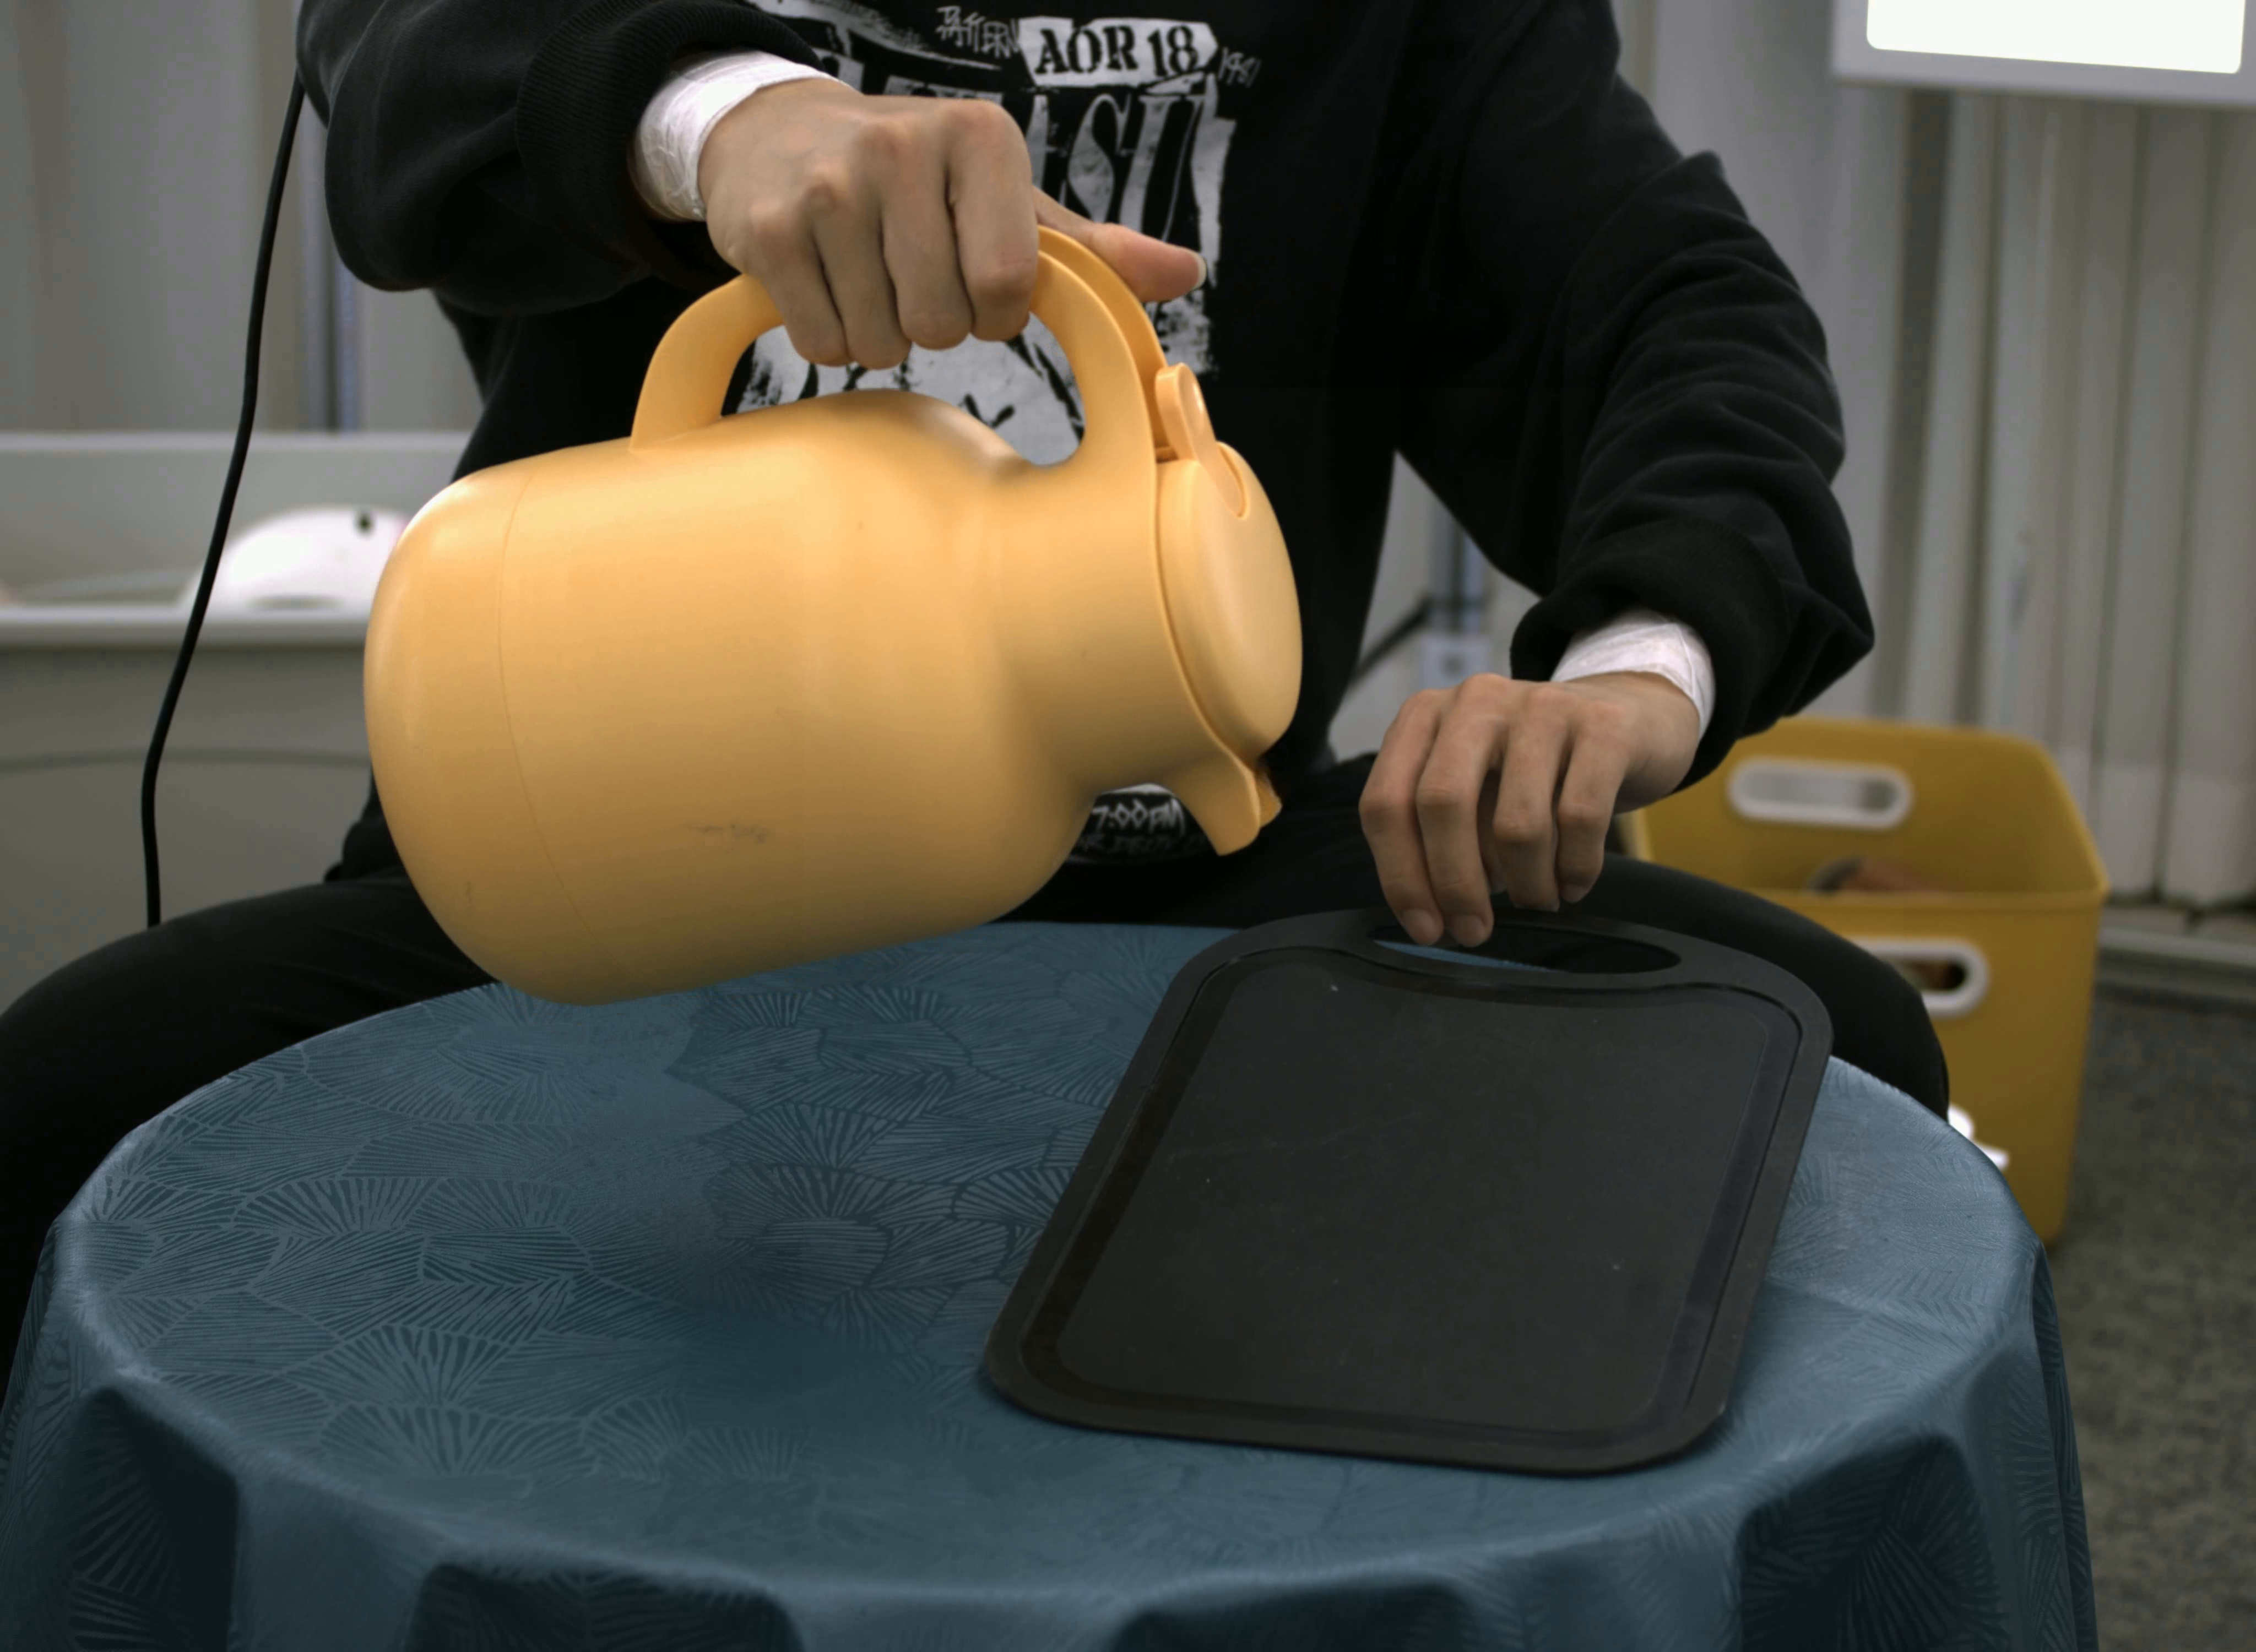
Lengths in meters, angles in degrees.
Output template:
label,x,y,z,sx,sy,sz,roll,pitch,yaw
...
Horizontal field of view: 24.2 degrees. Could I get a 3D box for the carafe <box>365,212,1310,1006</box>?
label,x,y,z,sx,sy,sz,roll,pitch,yaw
carafe,-0.083,-0.064,1.511,0.258,0.204,0.163,-11,10,16

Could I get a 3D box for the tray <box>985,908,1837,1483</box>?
label,x,y,z,sx,sy,sz,roll,pitch,yaw
tray,0.091,0.097,1.557,0.209,0.010,0.324,5,27,14
